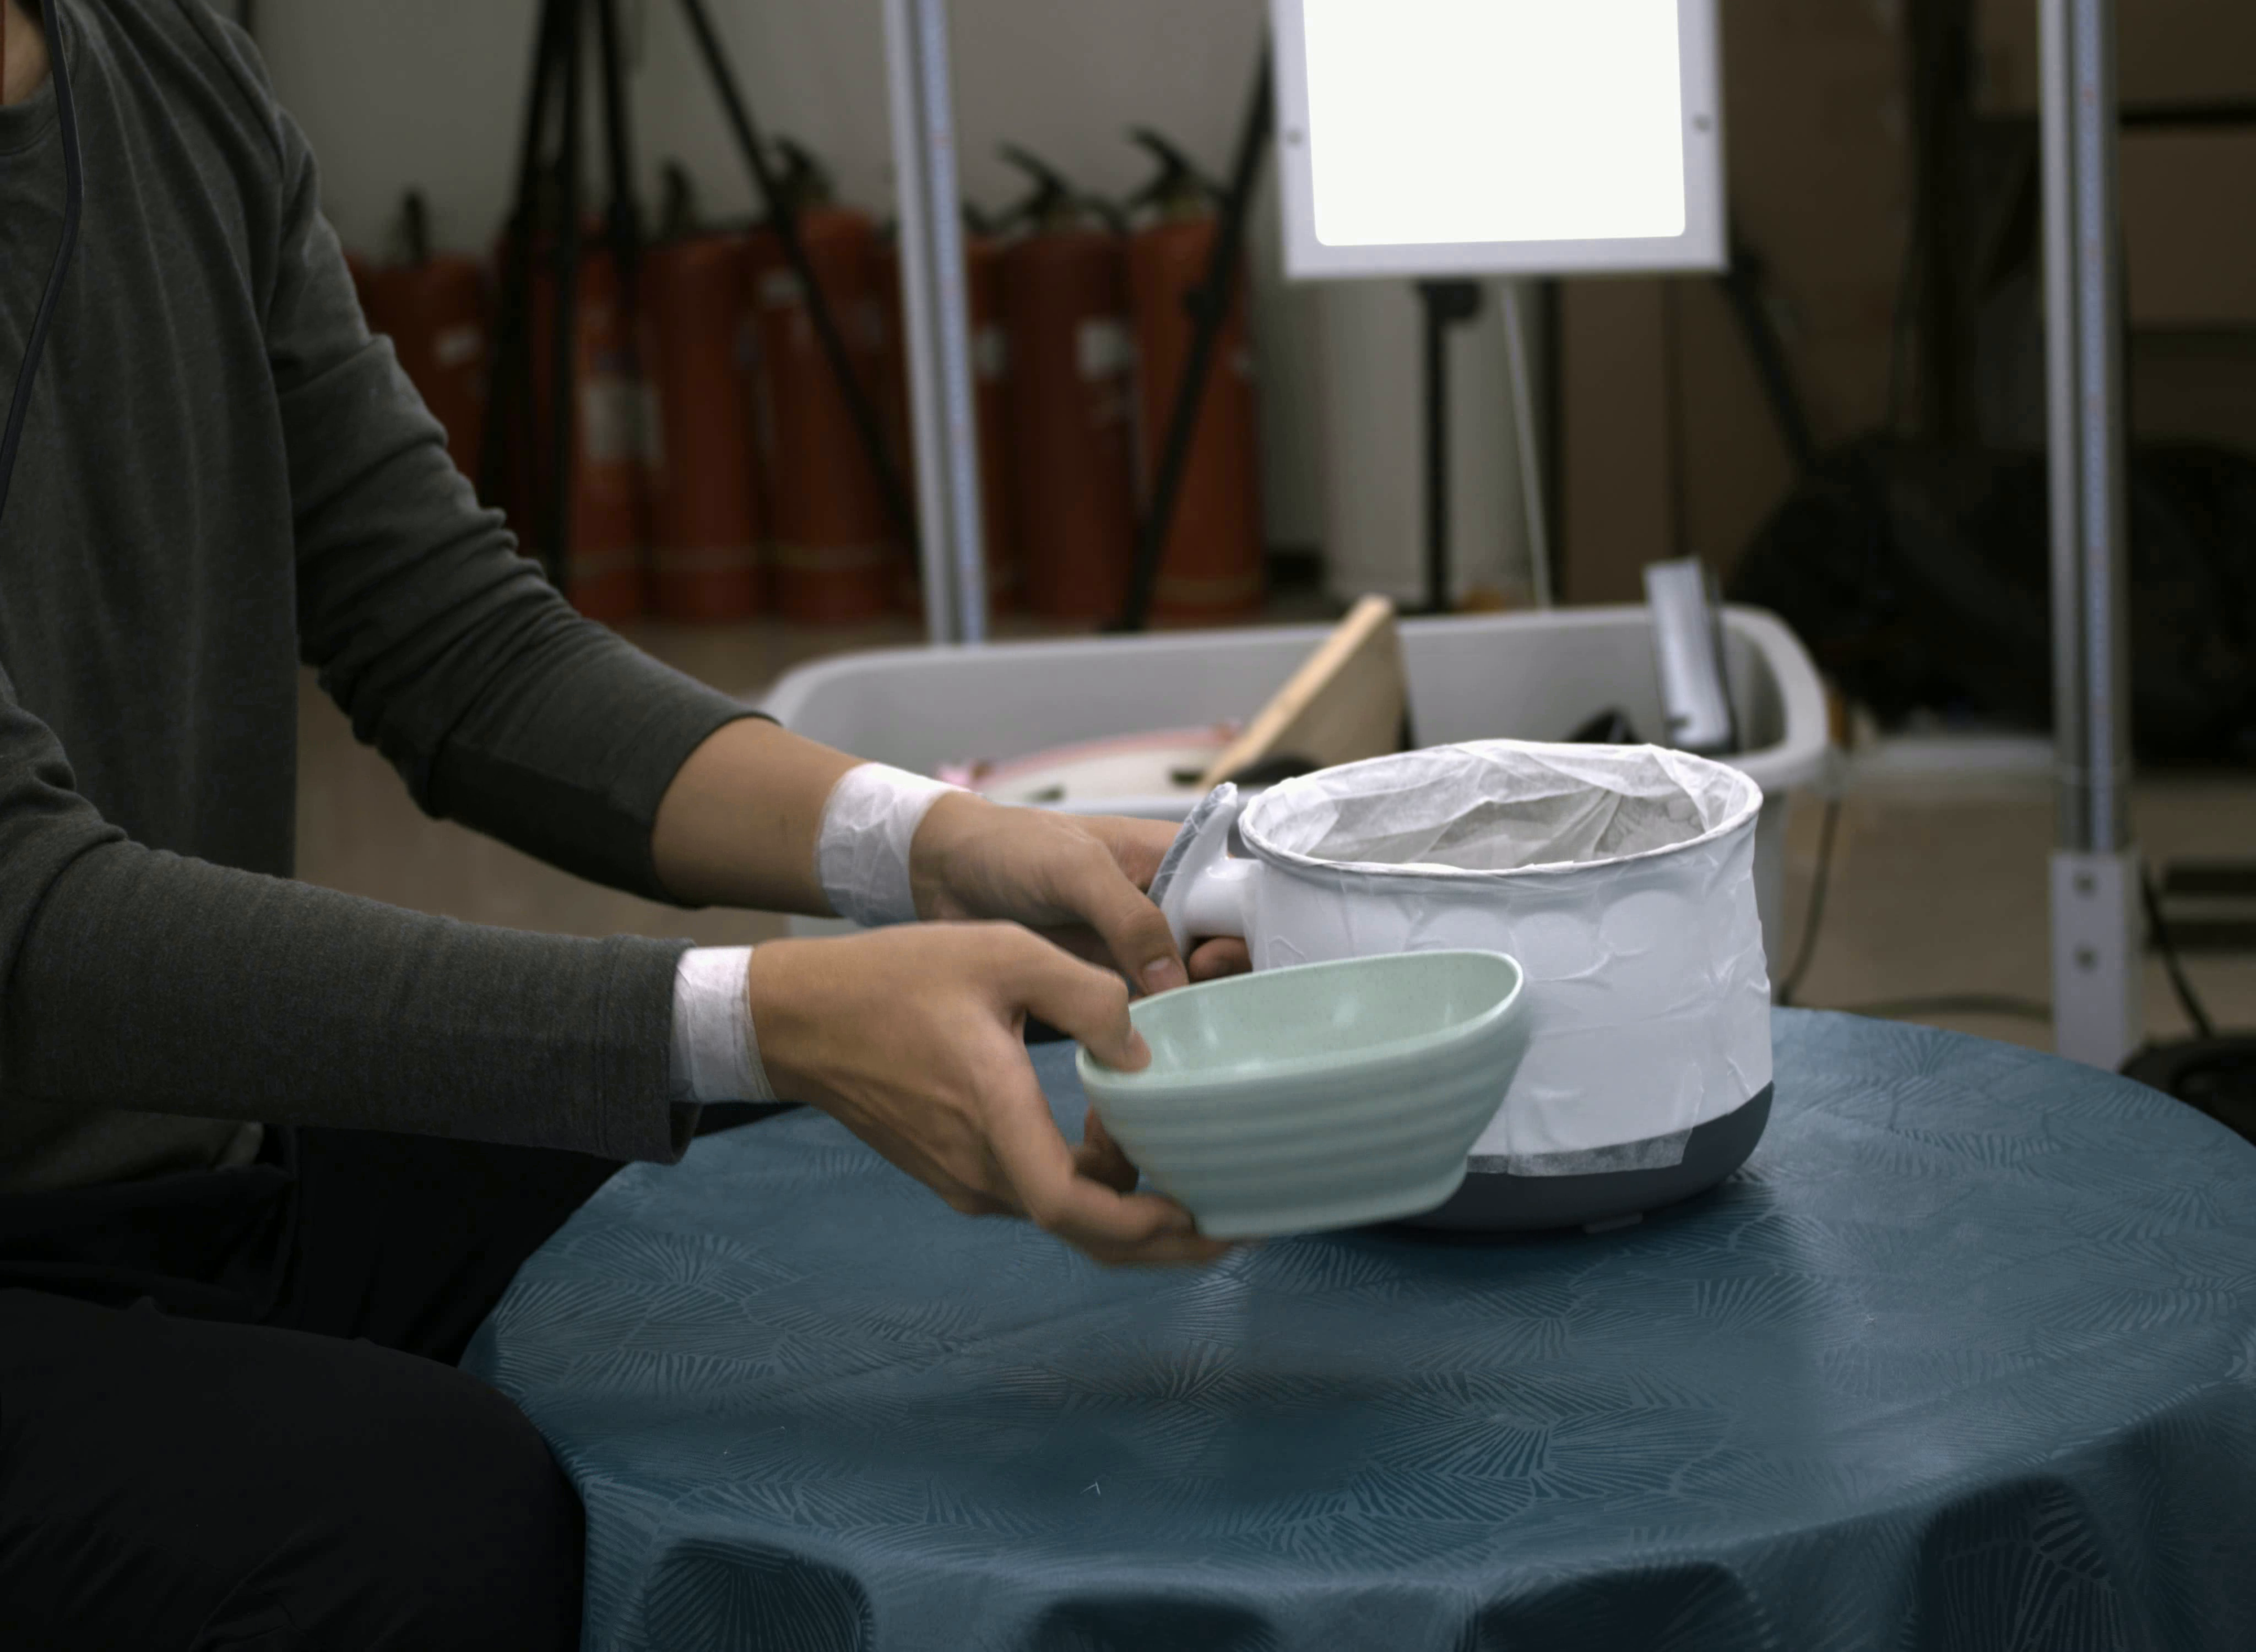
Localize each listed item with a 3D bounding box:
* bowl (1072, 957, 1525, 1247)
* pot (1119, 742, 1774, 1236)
[{"bbox_3d":[0.056,0.087,1.677,0.151,0.059,0.151,-9,12,1],"label":"bowl"},{"bbox_3d":[0.104,0.054,1.874,0.237,0.137,0.175,1,15,22],"label":"pot"}]
